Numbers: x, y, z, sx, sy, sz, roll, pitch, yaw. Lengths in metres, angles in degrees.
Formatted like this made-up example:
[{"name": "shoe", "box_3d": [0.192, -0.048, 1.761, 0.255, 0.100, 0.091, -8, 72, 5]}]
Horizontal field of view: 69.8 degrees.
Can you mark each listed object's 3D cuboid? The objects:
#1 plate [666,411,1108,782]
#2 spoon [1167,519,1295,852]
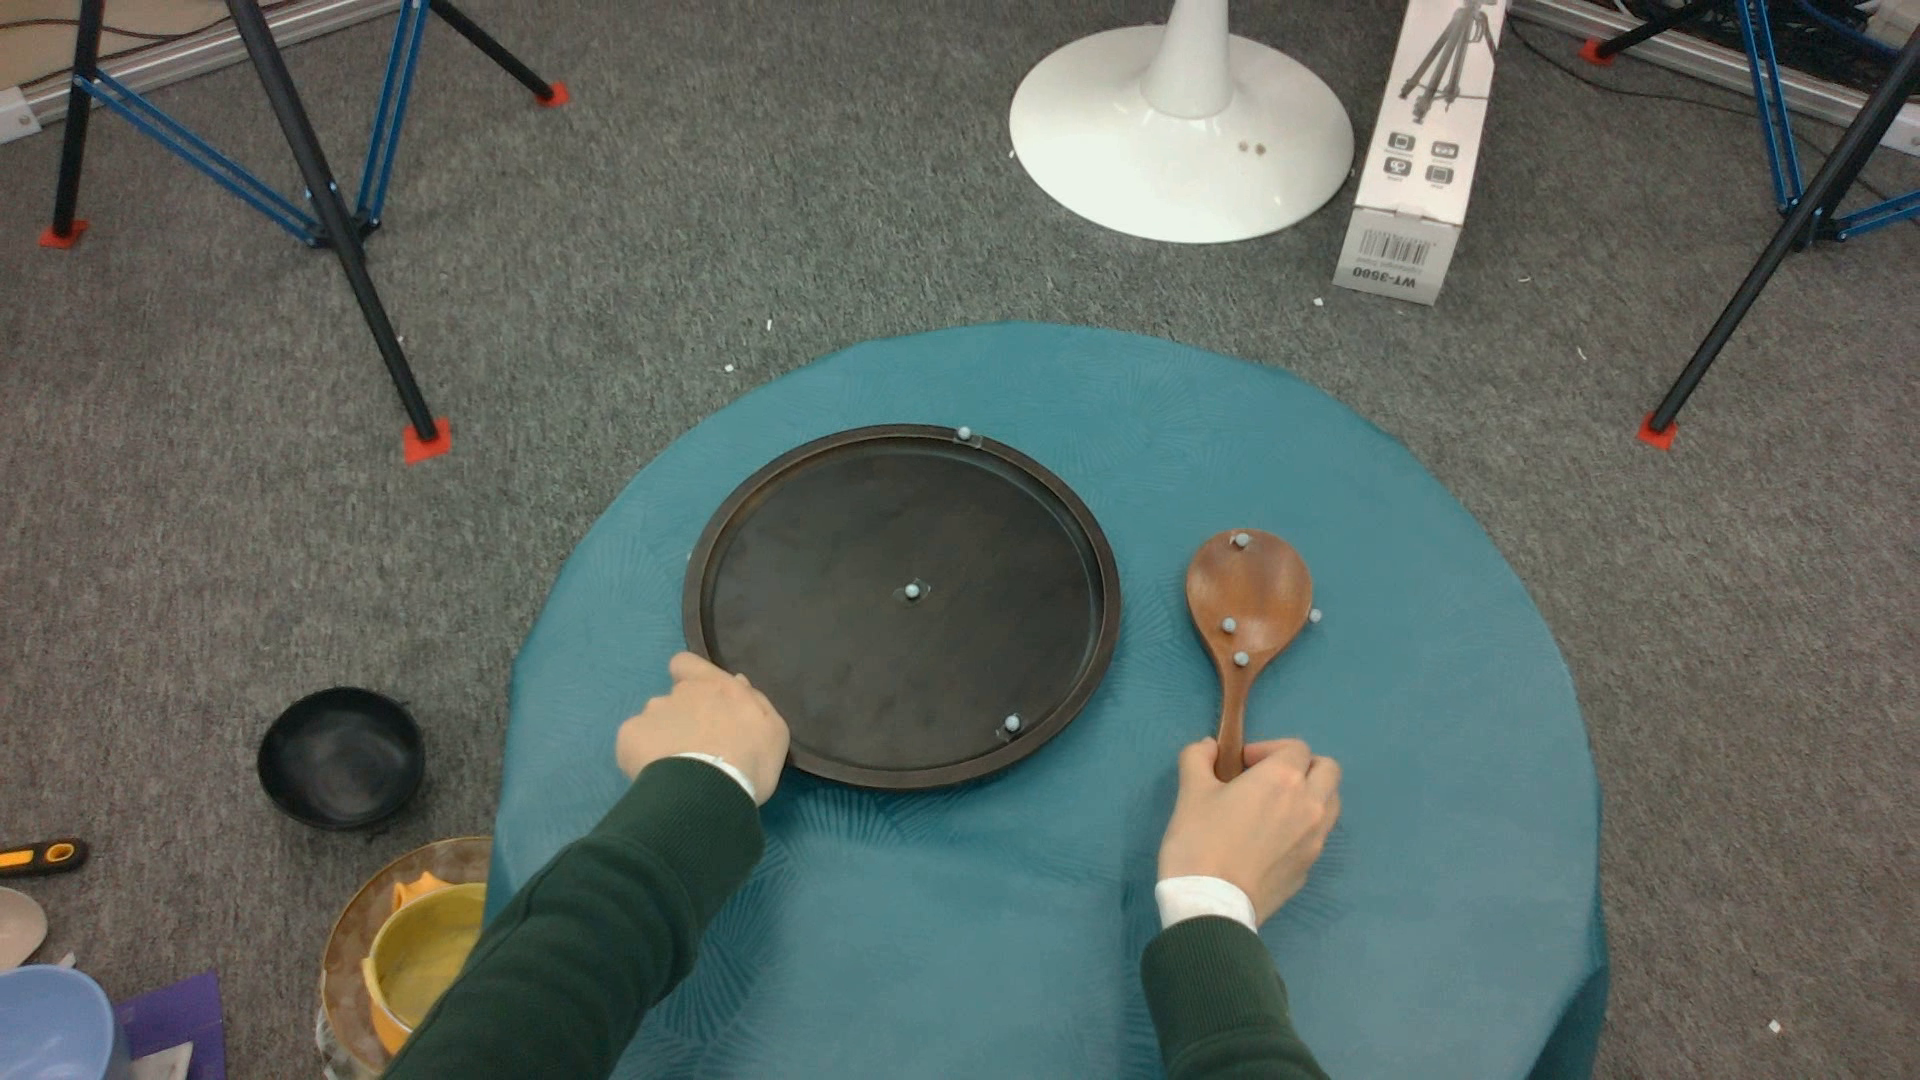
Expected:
[{"name": "plate", "box_3d": [-0.042, 0.027, 0.797, 0.255, 0.029, 0.256, 1, 52, -1]}, {"name": "spoon", "box_3d": [0.146, 0.075, 0.772, 0.075, 0.017, 0.217, 11, 53, 5]}]
